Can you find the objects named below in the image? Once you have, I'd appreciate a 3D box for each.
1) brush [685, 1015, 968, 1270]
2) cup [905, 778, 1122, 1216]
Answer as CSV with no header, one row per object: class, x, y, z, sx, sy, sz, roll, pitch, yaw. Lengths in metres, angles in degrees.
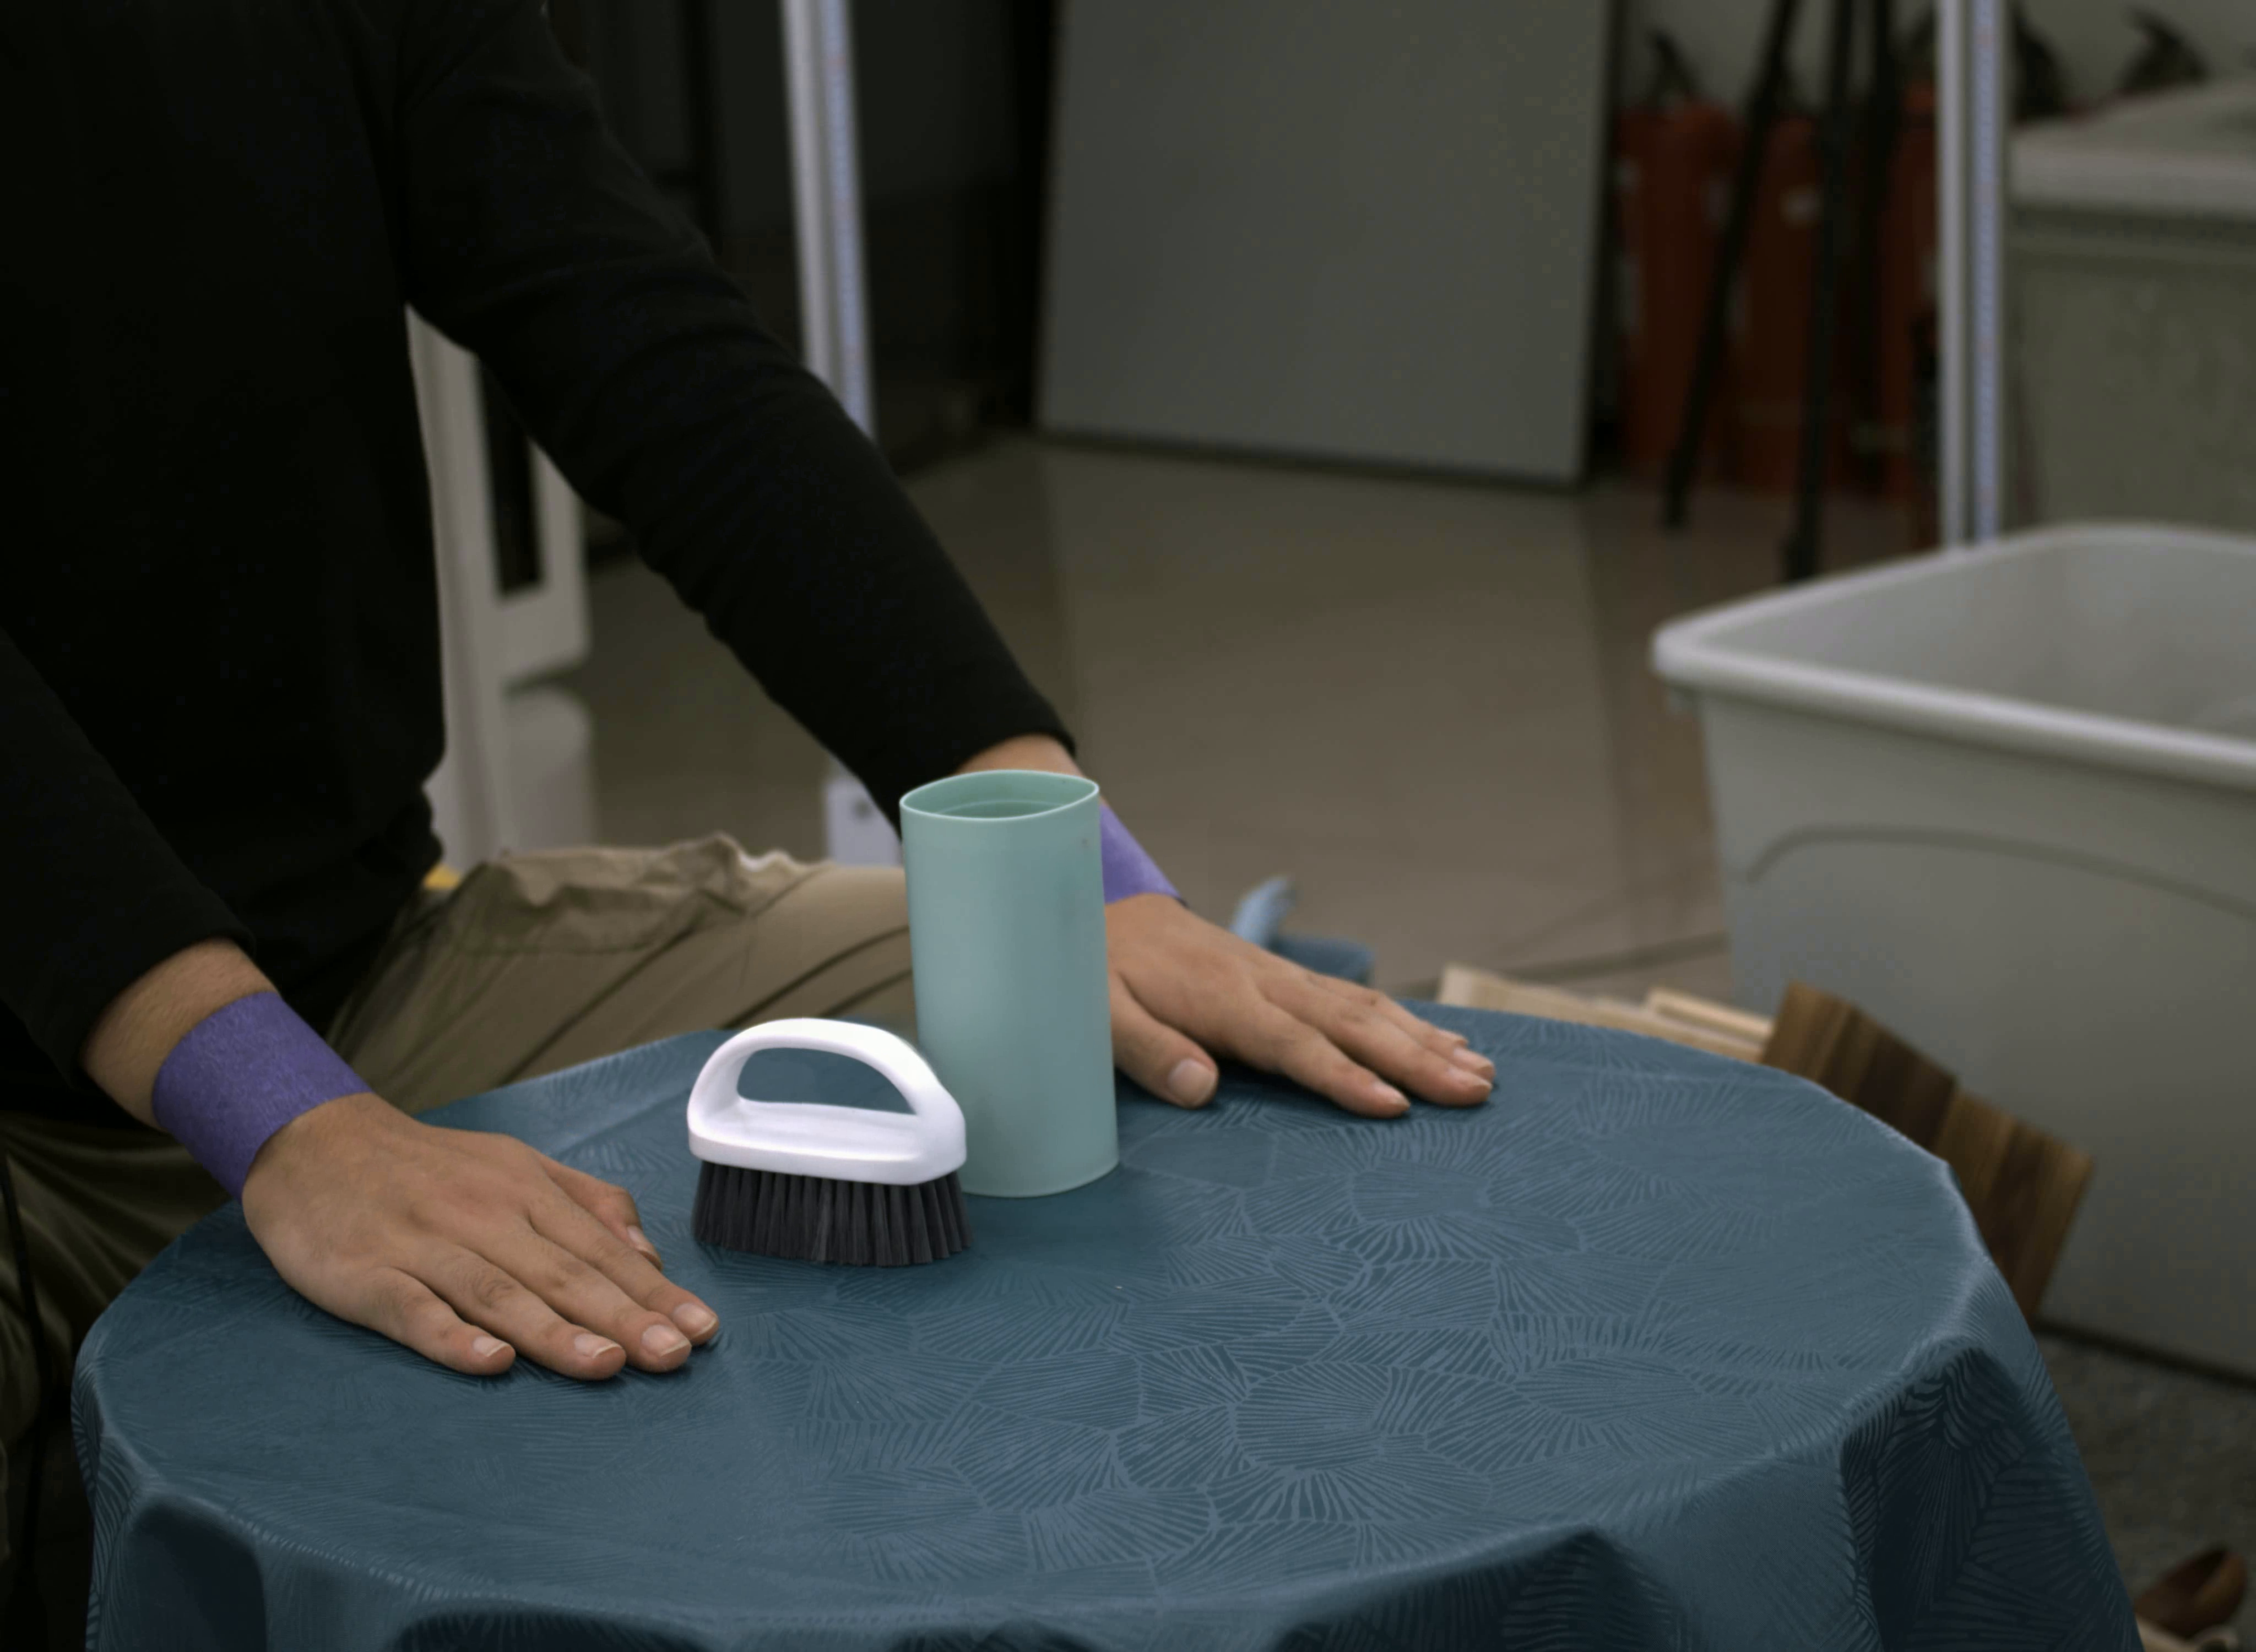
brush,-0.098,0.098,1.734,0.099,0.073,0.049,6,15,32
cup,-0.038,0.056,1.785,0.066,0.134,0.067,-3,14,0
